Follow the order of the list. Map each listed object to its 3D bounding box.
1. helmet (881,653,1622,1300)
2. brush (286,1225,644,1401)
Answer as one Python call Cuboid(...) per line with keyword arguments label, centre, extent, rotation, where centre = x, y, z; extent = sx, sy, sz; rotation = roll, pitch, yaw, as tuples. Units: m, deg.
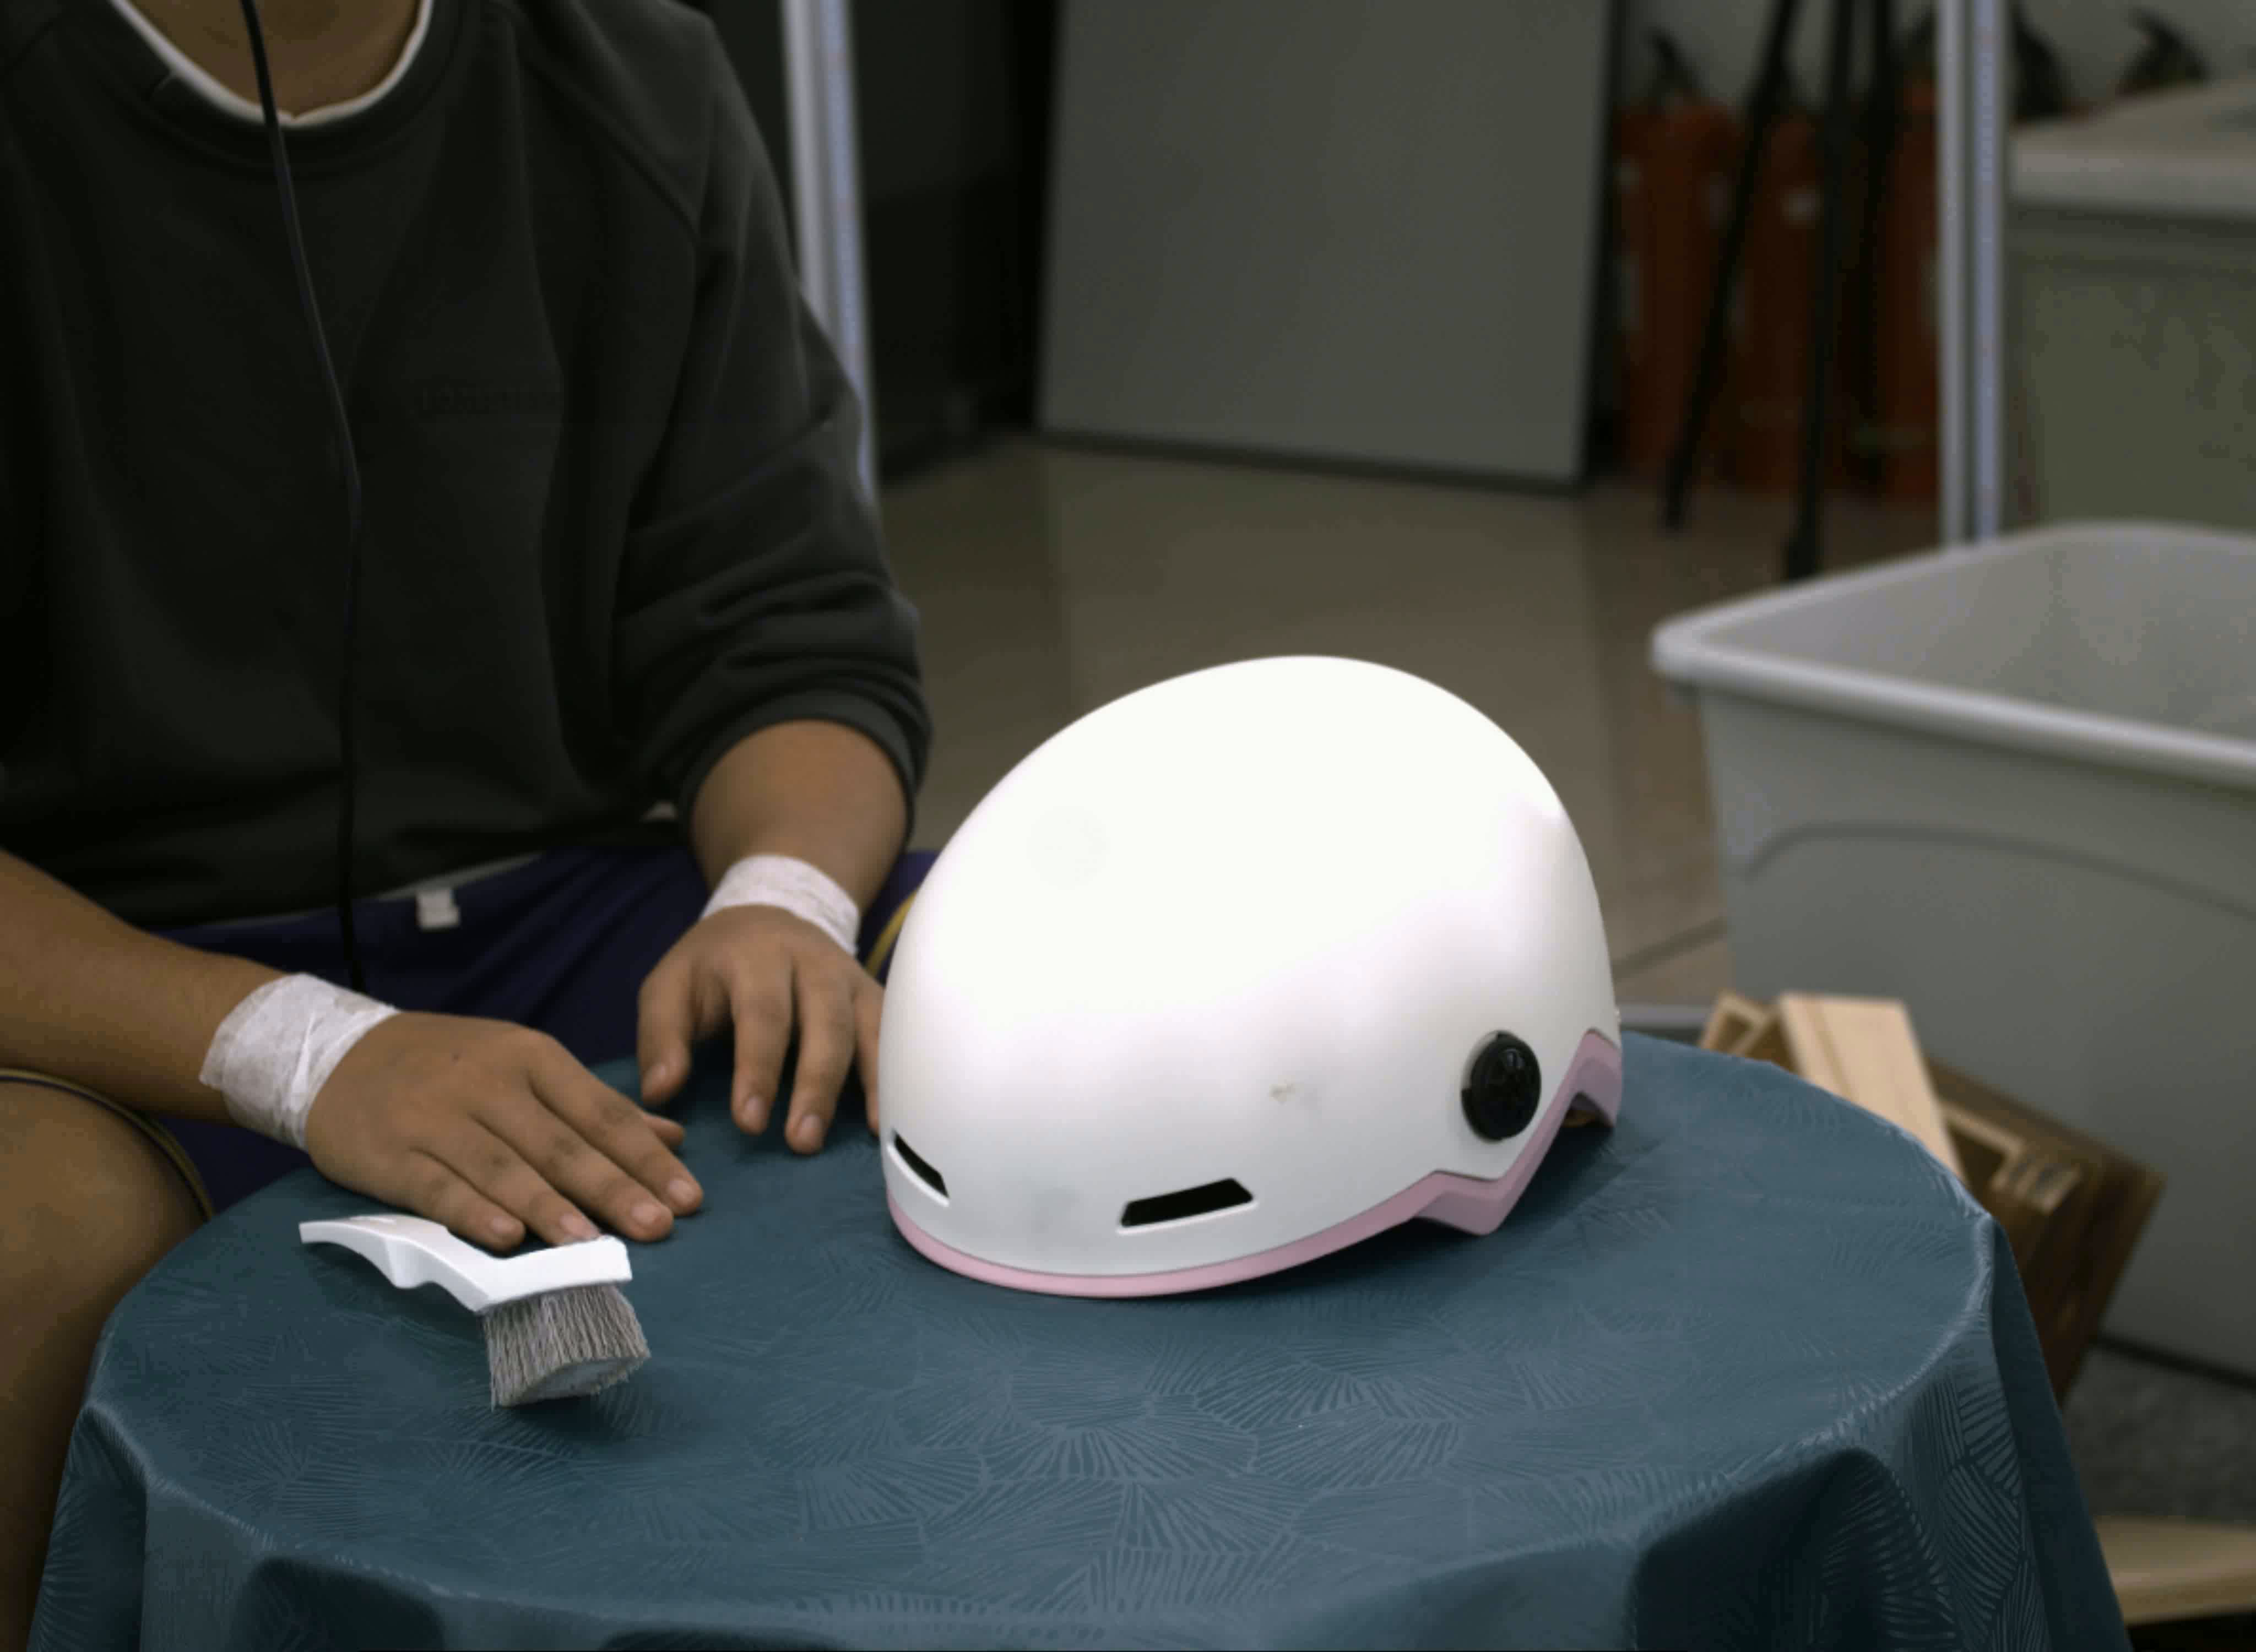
Cuboid(label="helmet", centre=(0.039, 0.036, 1.760), extent=(0.238, 0.169, 0.264), rotation=(6, 17, 36))
Cuboid(label="brush", centre=(-0.208, 0.149, 1.666), extent=(0.033, 0.051, 0.246), rotation=(-6, 0, -28))
